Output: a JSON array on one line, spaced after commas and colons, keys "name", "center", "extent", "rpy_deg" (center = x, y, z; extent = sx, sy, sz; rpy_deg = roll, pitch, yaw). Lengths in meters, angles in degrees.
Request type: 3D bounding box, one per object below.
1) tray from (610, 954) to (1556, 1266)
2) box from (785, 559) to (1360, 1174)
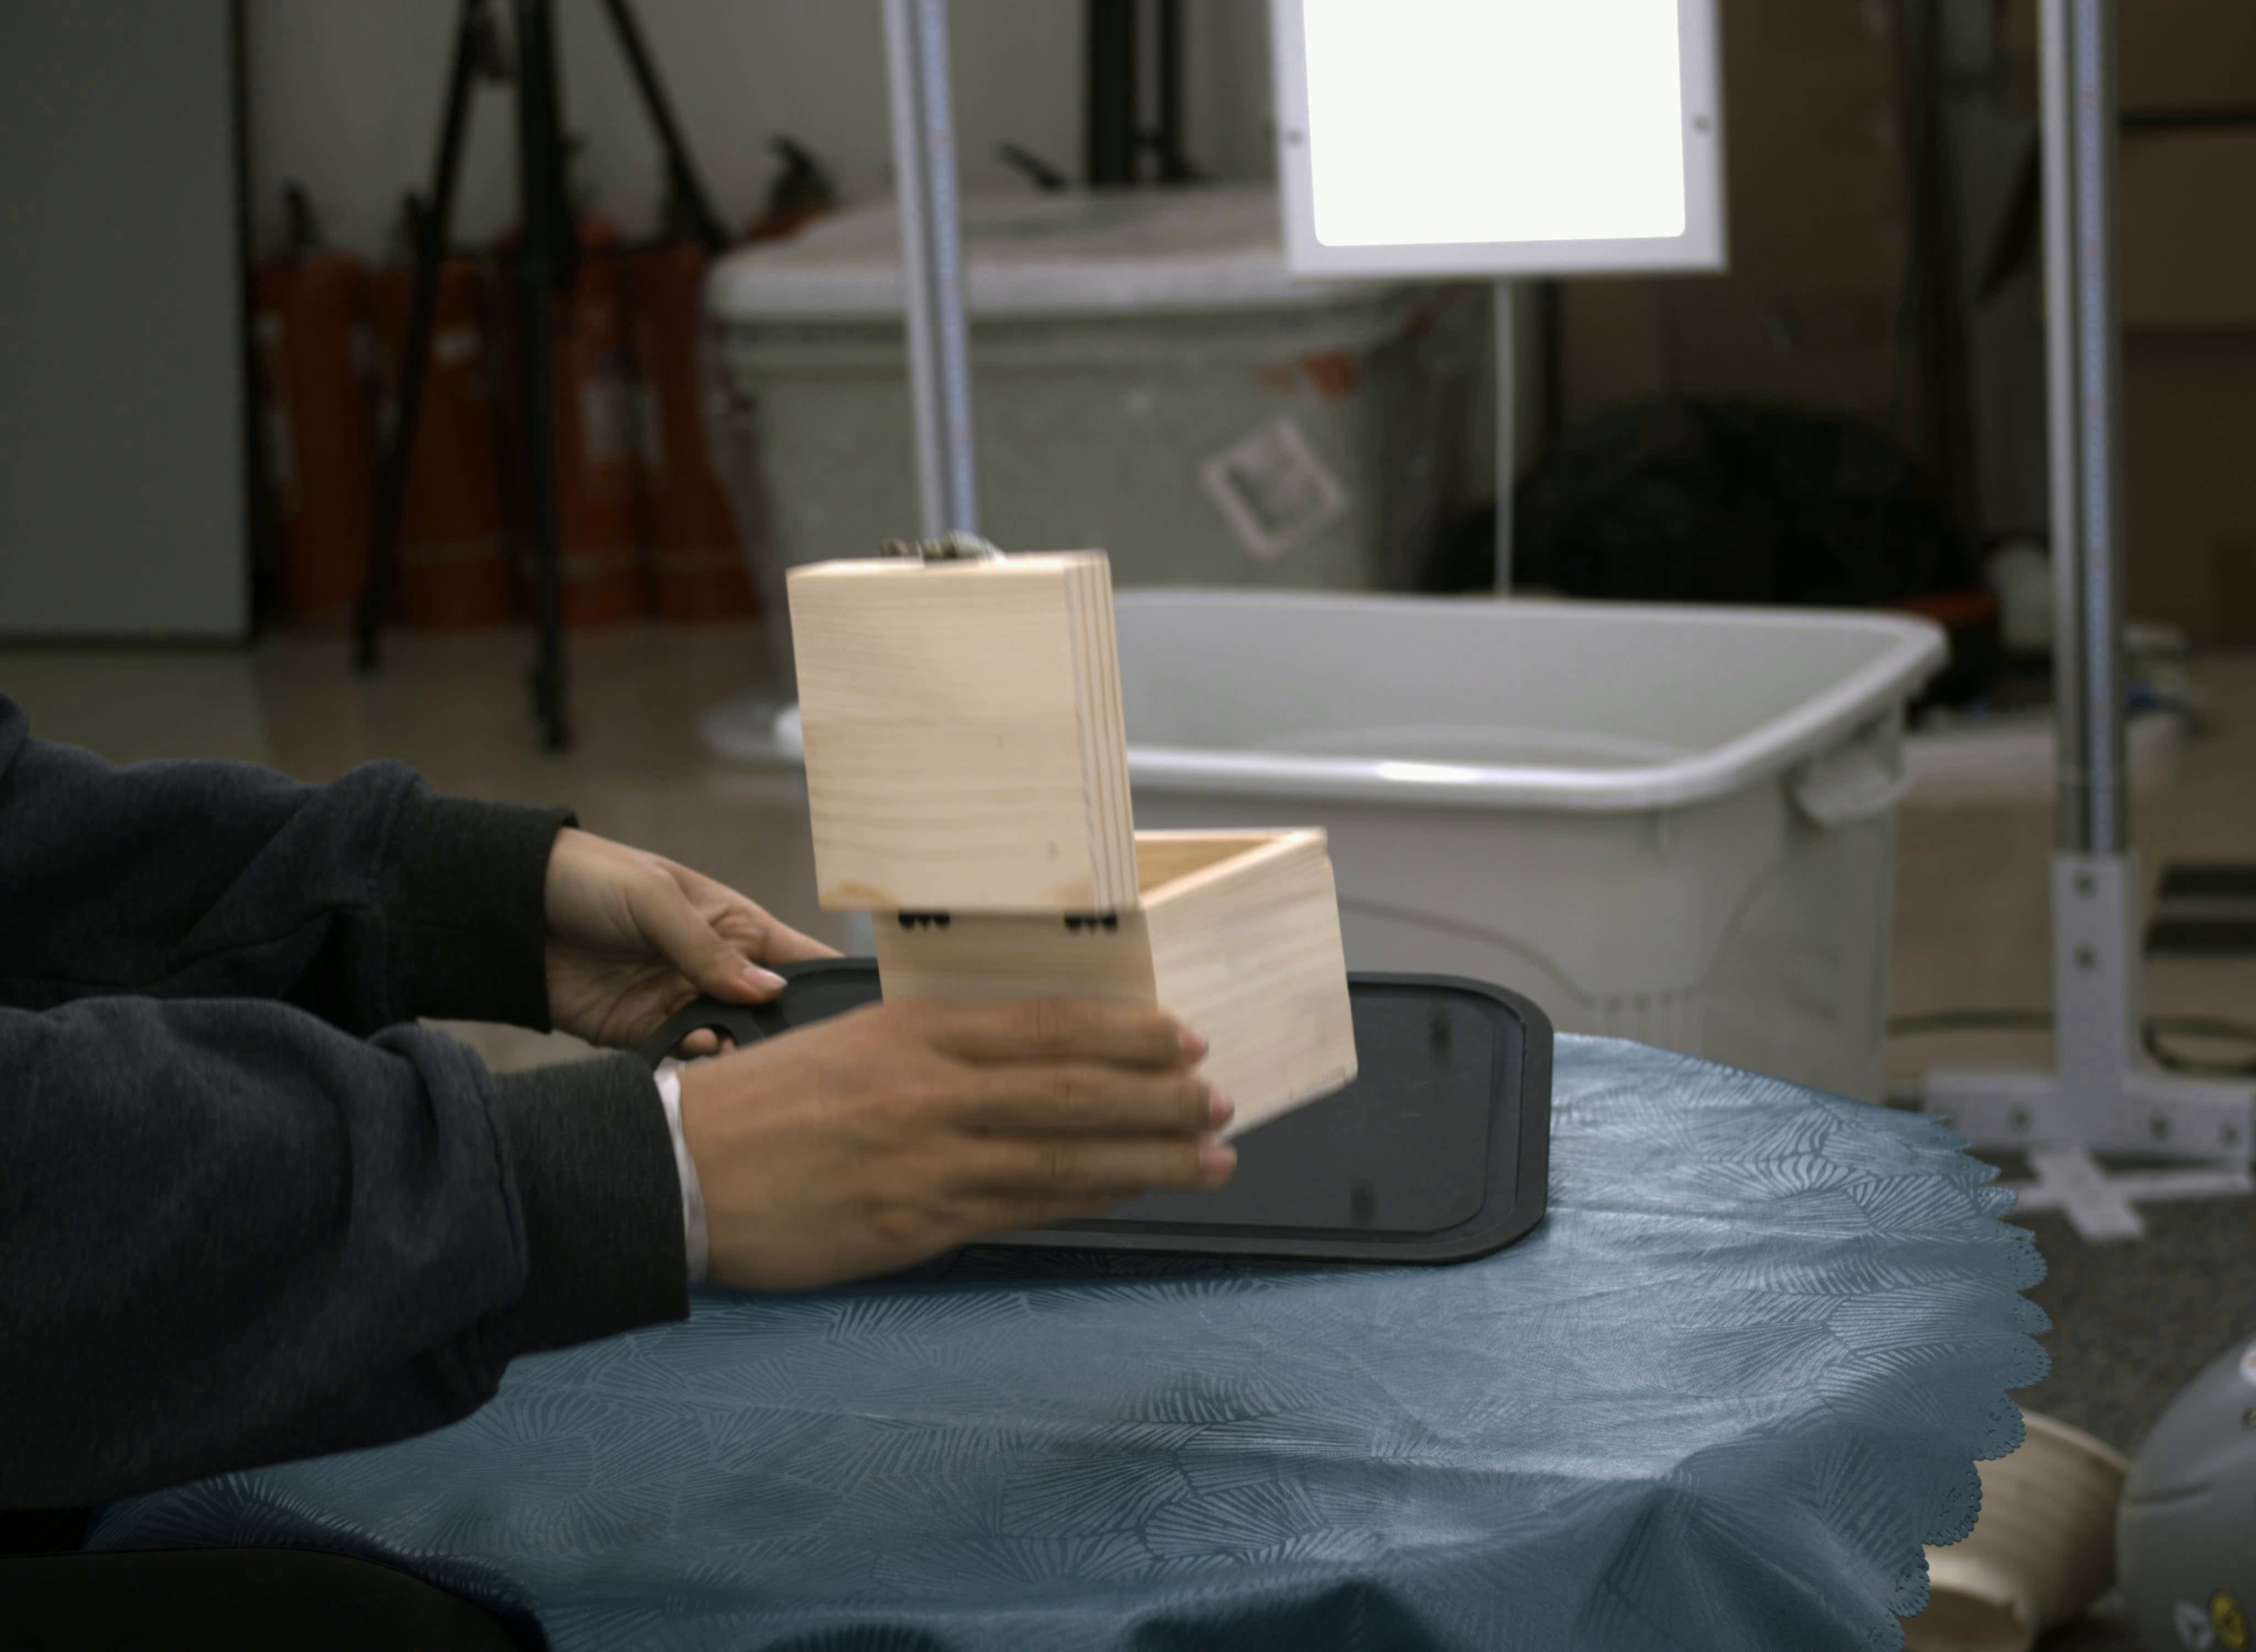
[{"name": "tray", "center": [-0.016, 0.094, 1.898], "extent": [0.326, 0.010, 0.209], "rpy_deg": [2, 25, 7]}, {"name": "box", "center": [-0.014, 0.003, 1.638], "extent": [0.105, 0.185, 0.130], "rpy_deg": [0, 14, 35]}]
